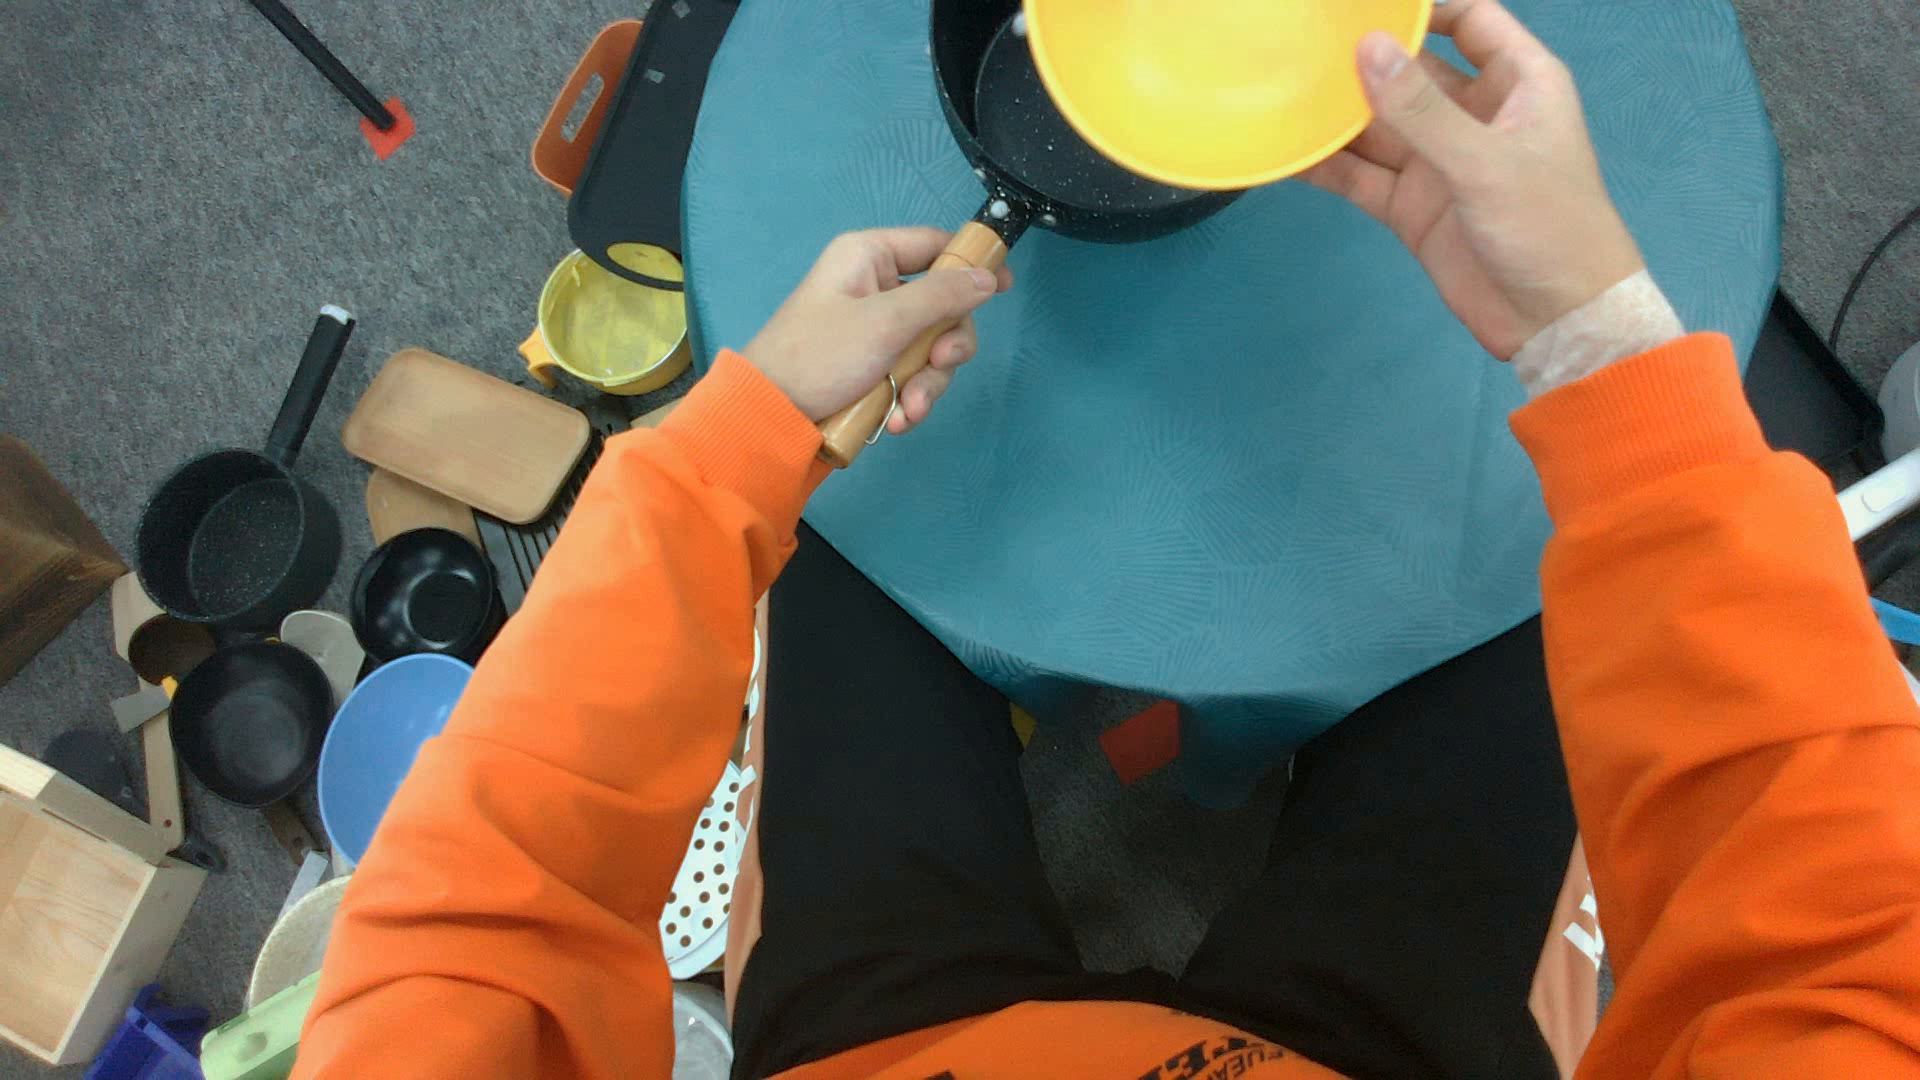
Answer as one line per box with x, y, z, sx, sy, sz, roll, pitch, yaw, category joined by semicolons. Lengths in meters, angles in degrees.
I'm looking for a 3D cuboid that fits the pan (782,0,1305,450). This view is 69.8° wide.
0.026;-0.176;0.660;0.207;0.108;0.343;32;82;5;pan

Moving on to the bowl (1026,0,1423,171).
0.101;-0.213;0.523;0.145;0.060;0.145;3;103;13;bowl
